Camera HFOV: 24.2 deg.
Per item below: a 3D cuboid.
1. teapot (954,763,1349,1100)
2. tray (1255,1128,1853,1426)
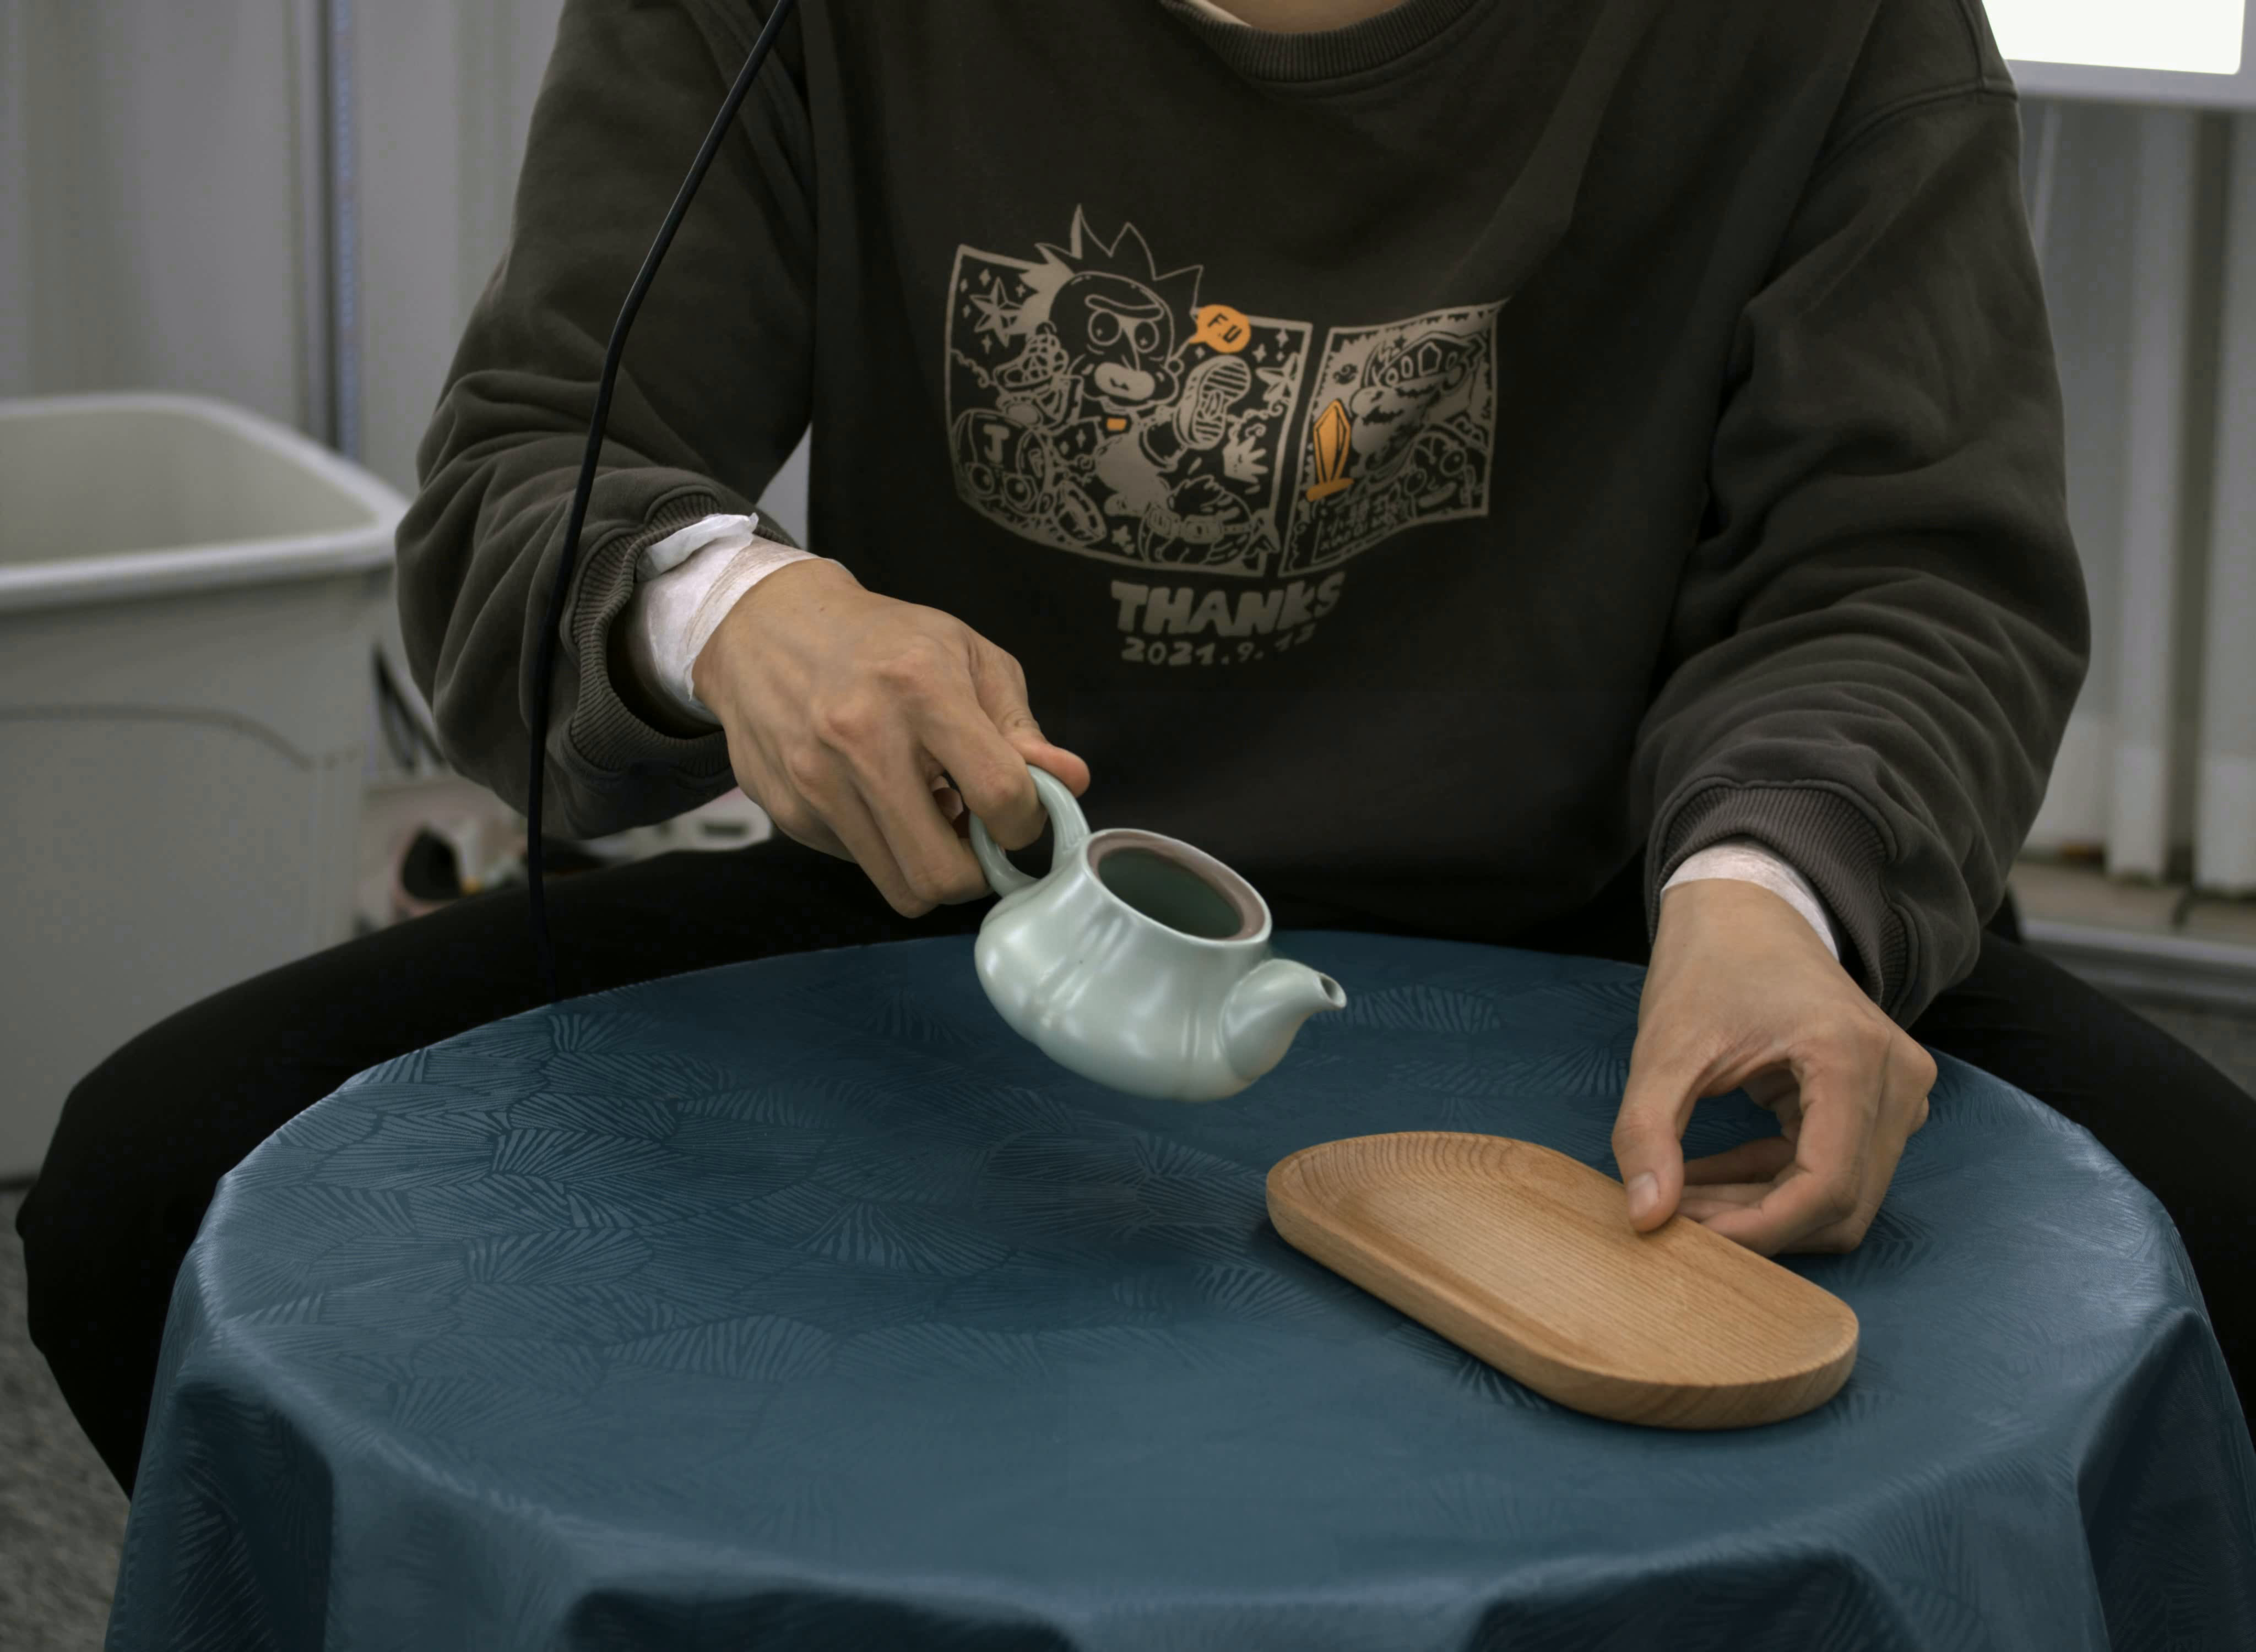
[{"bbox_3d":[0.000,0.036,1.578,0.136,0.062,0.096,35,28,18],"label":"teapot"},{"bbox_3d":[0.121,0.130,1.541,0.102,0.020,0.228,-7,16,-29],"label":"tray"}]
